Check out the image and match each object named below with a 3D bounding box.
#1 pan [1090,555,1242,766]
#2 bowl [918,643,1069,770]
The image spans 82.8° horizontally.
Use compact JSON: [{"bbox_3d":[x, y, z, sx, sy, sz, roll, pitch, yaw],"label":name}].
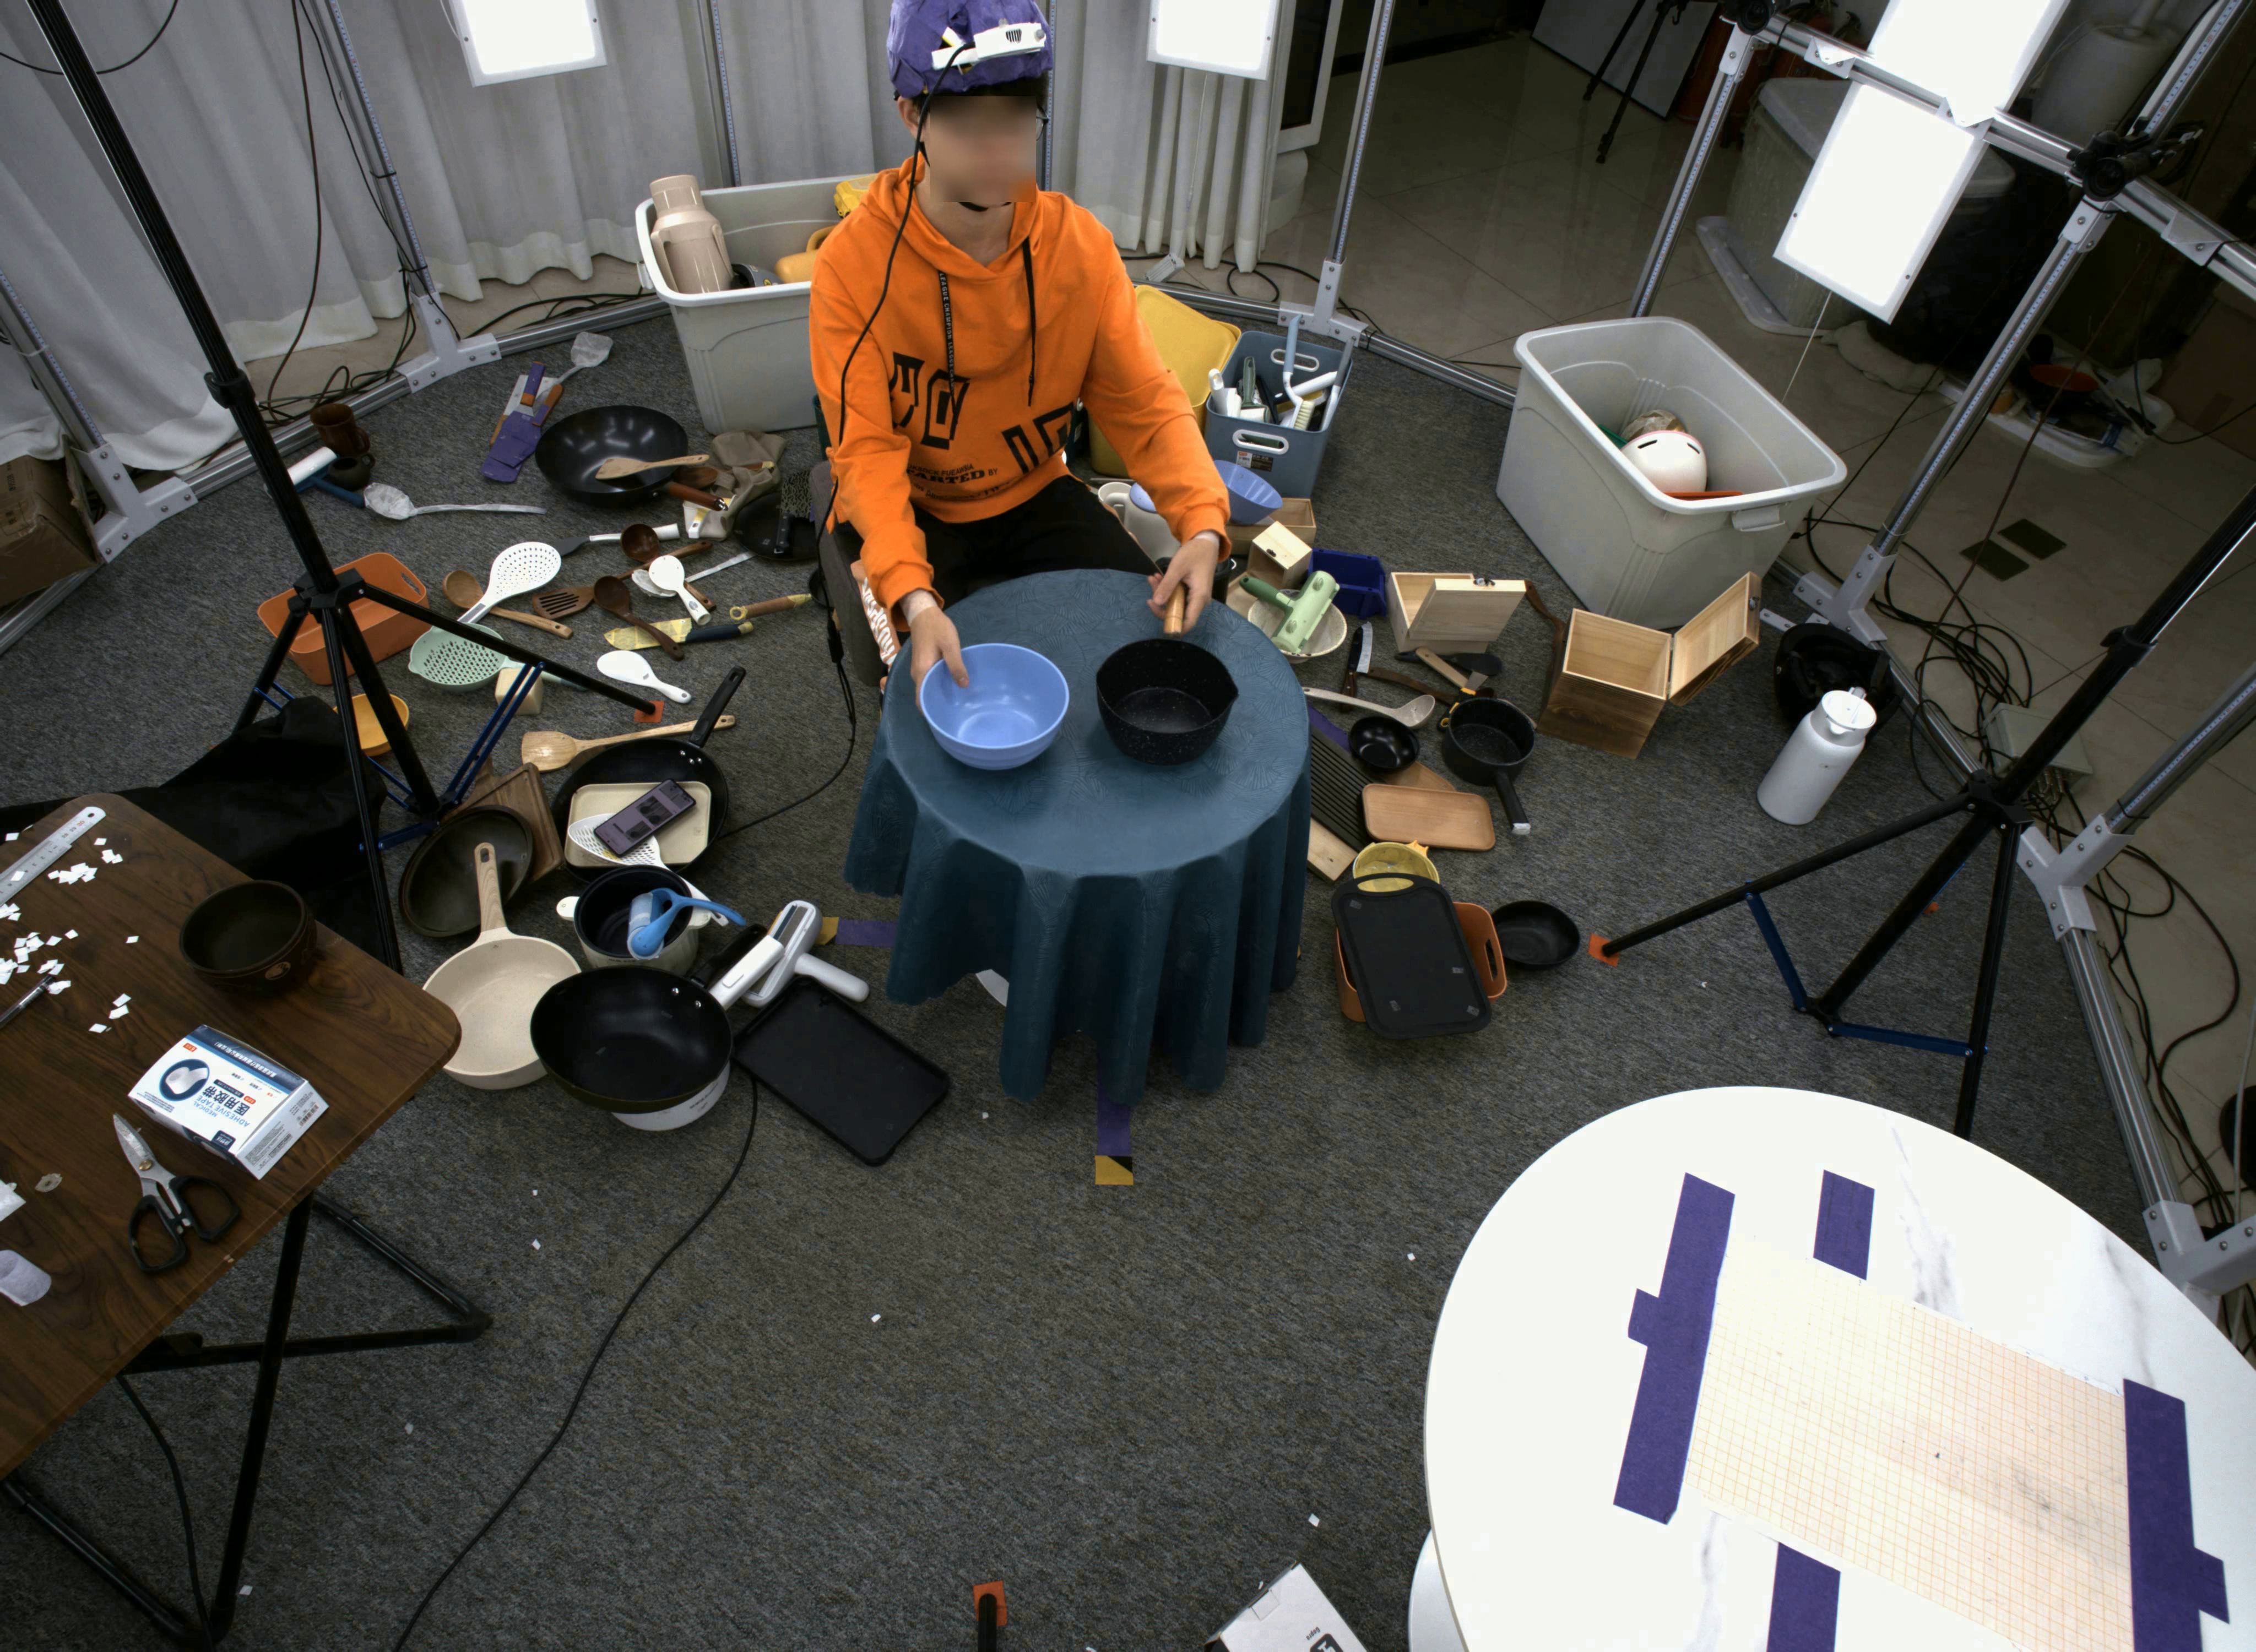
[{"bbox_3d":[0.056,-0.234,1.806,0.207,0.105,0.351,5,50,2],"label":"pan"},{"bbox_3d":[-0.178,-0.145,1.720,0.196,0.093,0.201,1,50,-2],"label":"bowl"}]
